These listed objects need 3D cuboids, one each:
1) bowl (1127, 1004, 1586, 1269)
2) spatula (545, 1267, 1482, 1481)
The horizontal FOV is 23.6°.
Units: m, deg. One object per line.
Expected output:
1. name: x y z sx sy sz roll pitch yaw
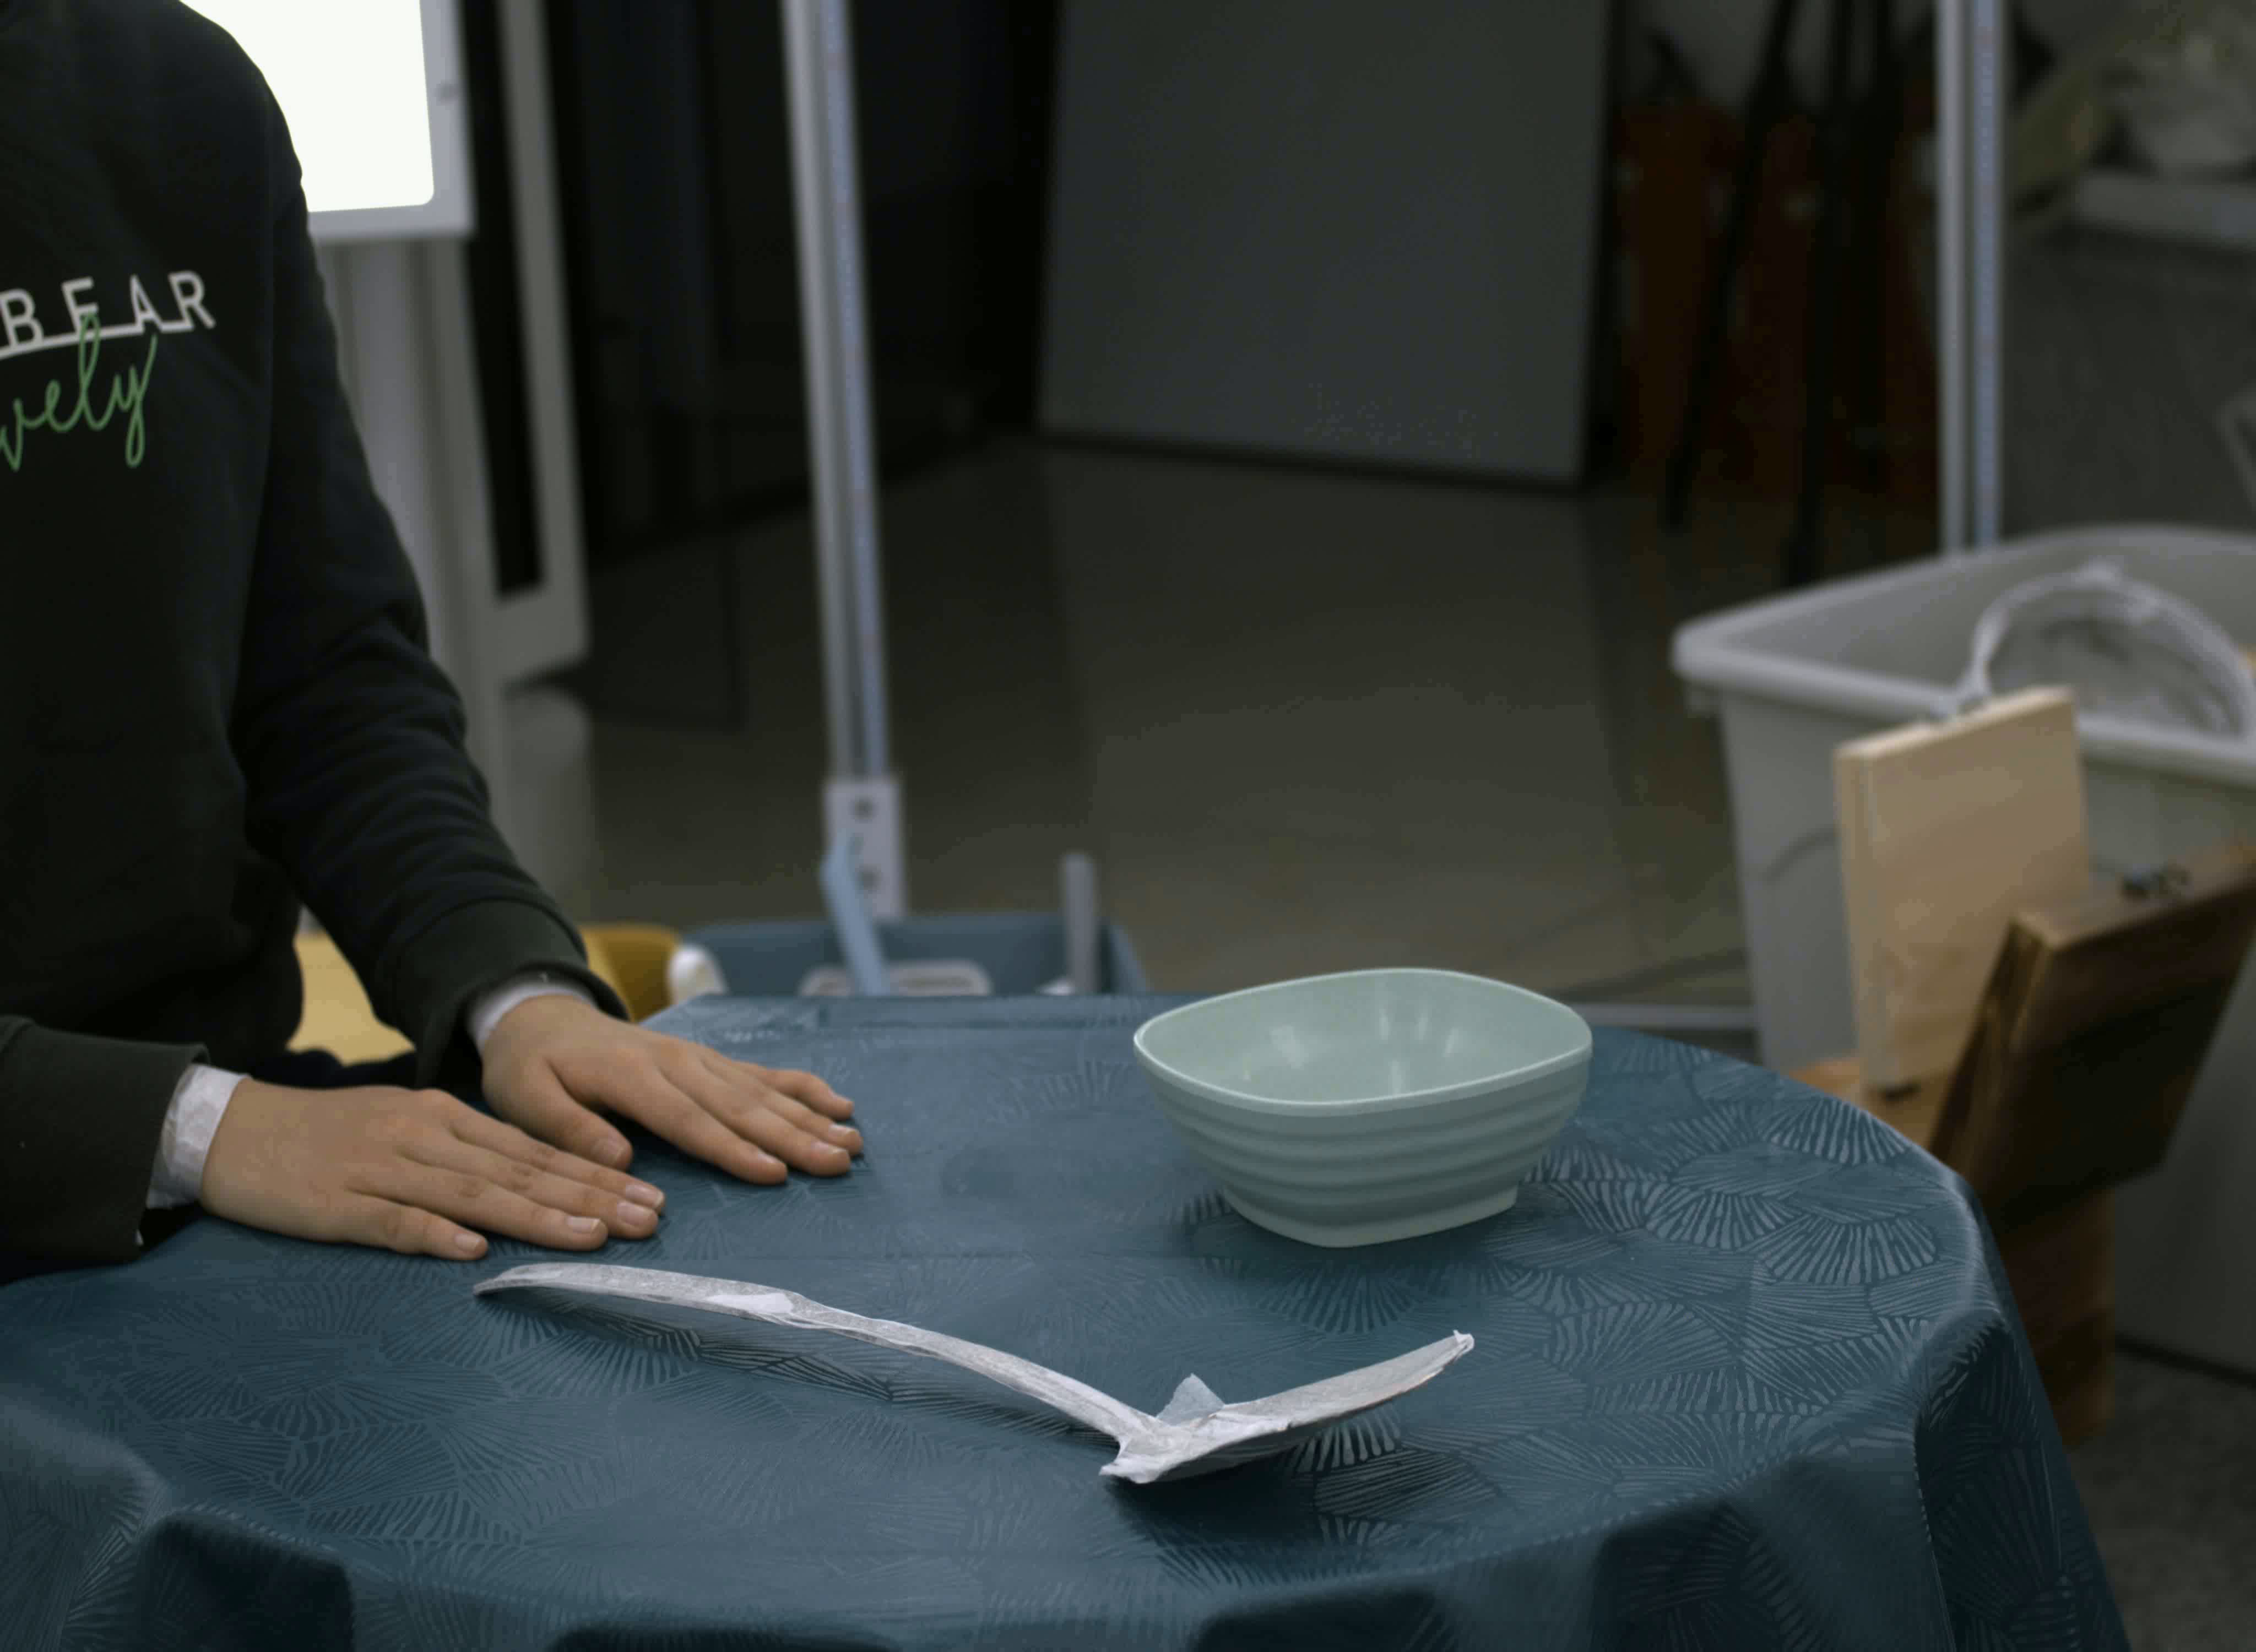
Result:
1. bowl: 0.075 0.102 1.735 0.149 0.059 0.151 -6 10 0
2. spatula: -0.055 0.150 1.592 0.368 0.045 0.097 9 20 41
